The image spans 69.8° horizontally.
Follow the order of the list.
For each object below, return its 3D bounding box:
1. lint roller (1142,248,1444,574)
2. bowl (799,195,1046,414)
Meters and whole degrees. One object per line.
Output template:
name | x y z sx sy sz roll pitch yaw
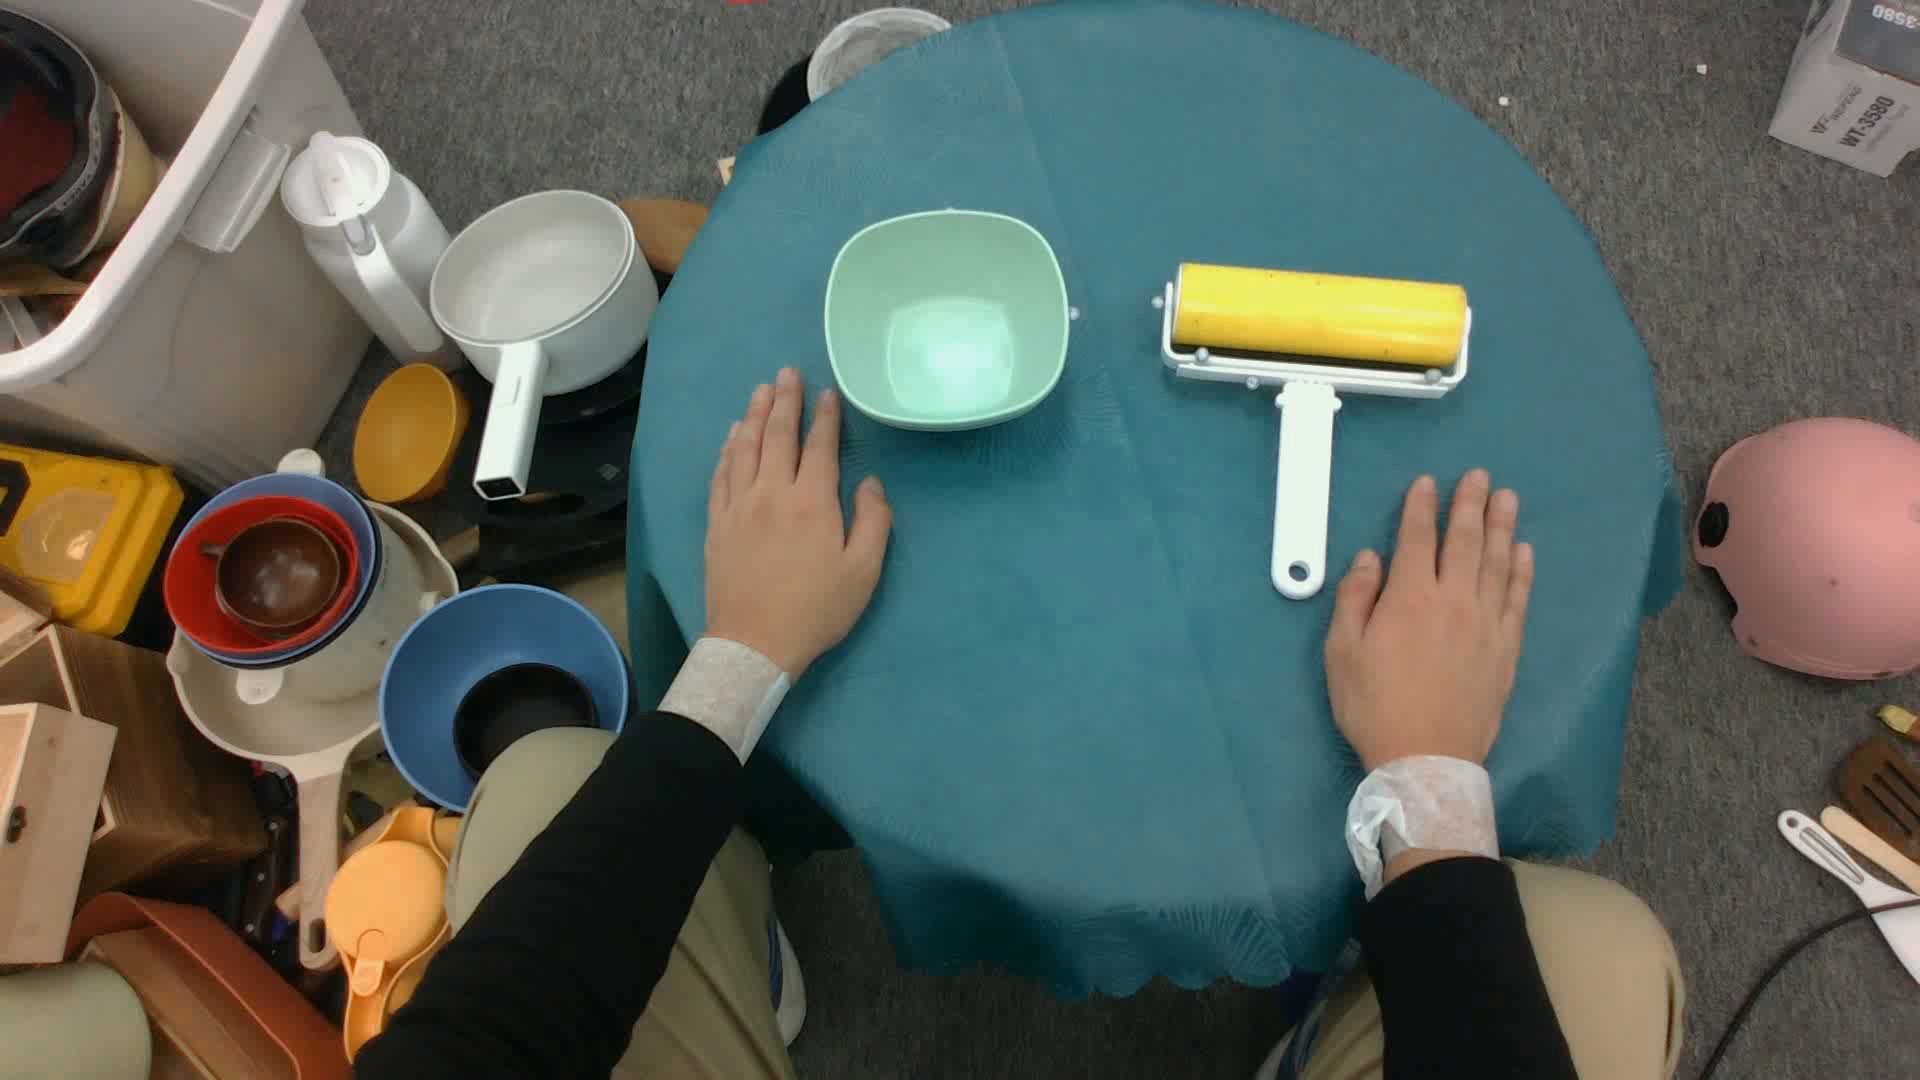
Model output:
lint roller | 0.189 -0.078 0.781 0.174 0.051 0.193 4 64 2
bowl | -0.021 -0.127 0.801 0.151 0.058 0.152 0 67 0
